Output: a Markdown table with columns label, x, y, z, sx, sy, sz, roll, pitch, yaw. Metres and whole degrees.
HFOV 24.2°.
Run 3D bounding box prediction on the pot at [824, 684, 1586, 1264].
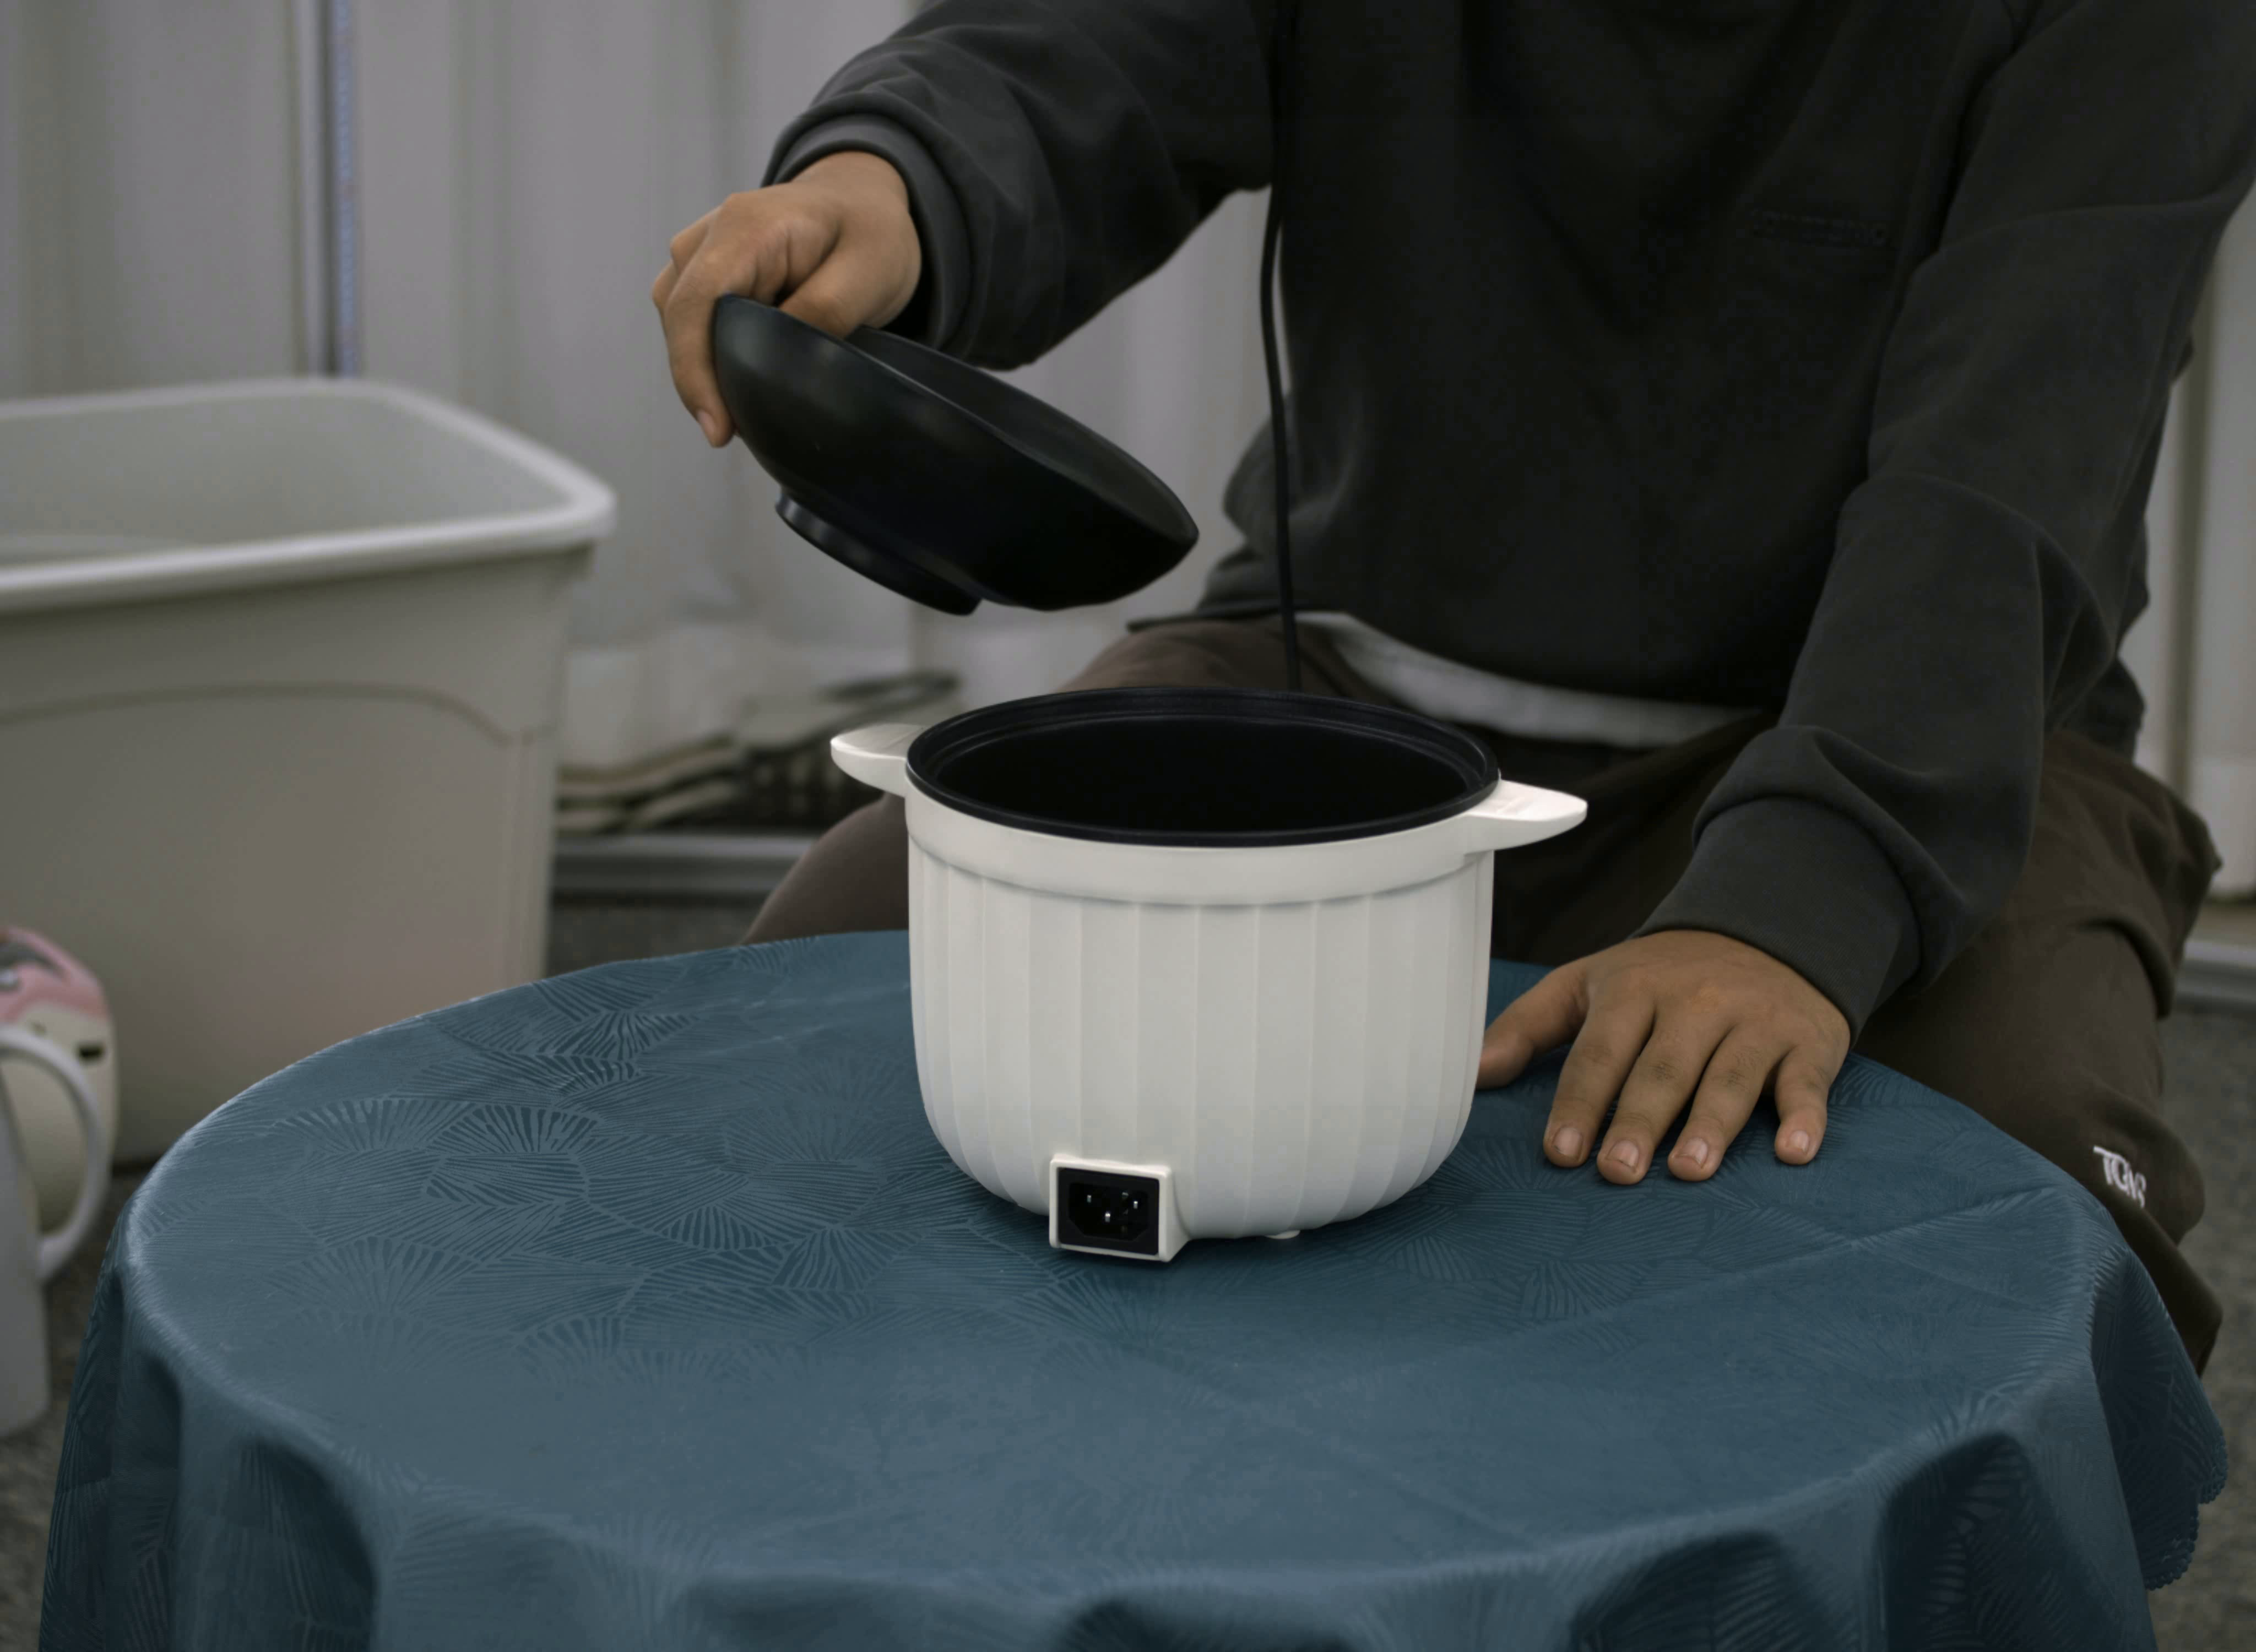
| label | x | y | z | sx | sy | sz | roll | pitch | yaw |
| --- | --- | --- | --- | --- | --- | --- | --- | --- | --- |
| pot | 0.022 | 0.042 | 1.624 | 0.238 | 0.144 | 0.190 | 6 | 20 | 16 |

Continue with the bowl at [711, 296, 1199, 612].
| label | x | y | z | sx | sy | sz | roll | pitch | yaw |
| --- | --- | --- | --- | --- | --- | --- | --- | --- | --- |
| bowl | -0.064 | -0.109 | 1.623 | 0.169 | 0.067 | 0.138 | 30 | 9 | 15 |
